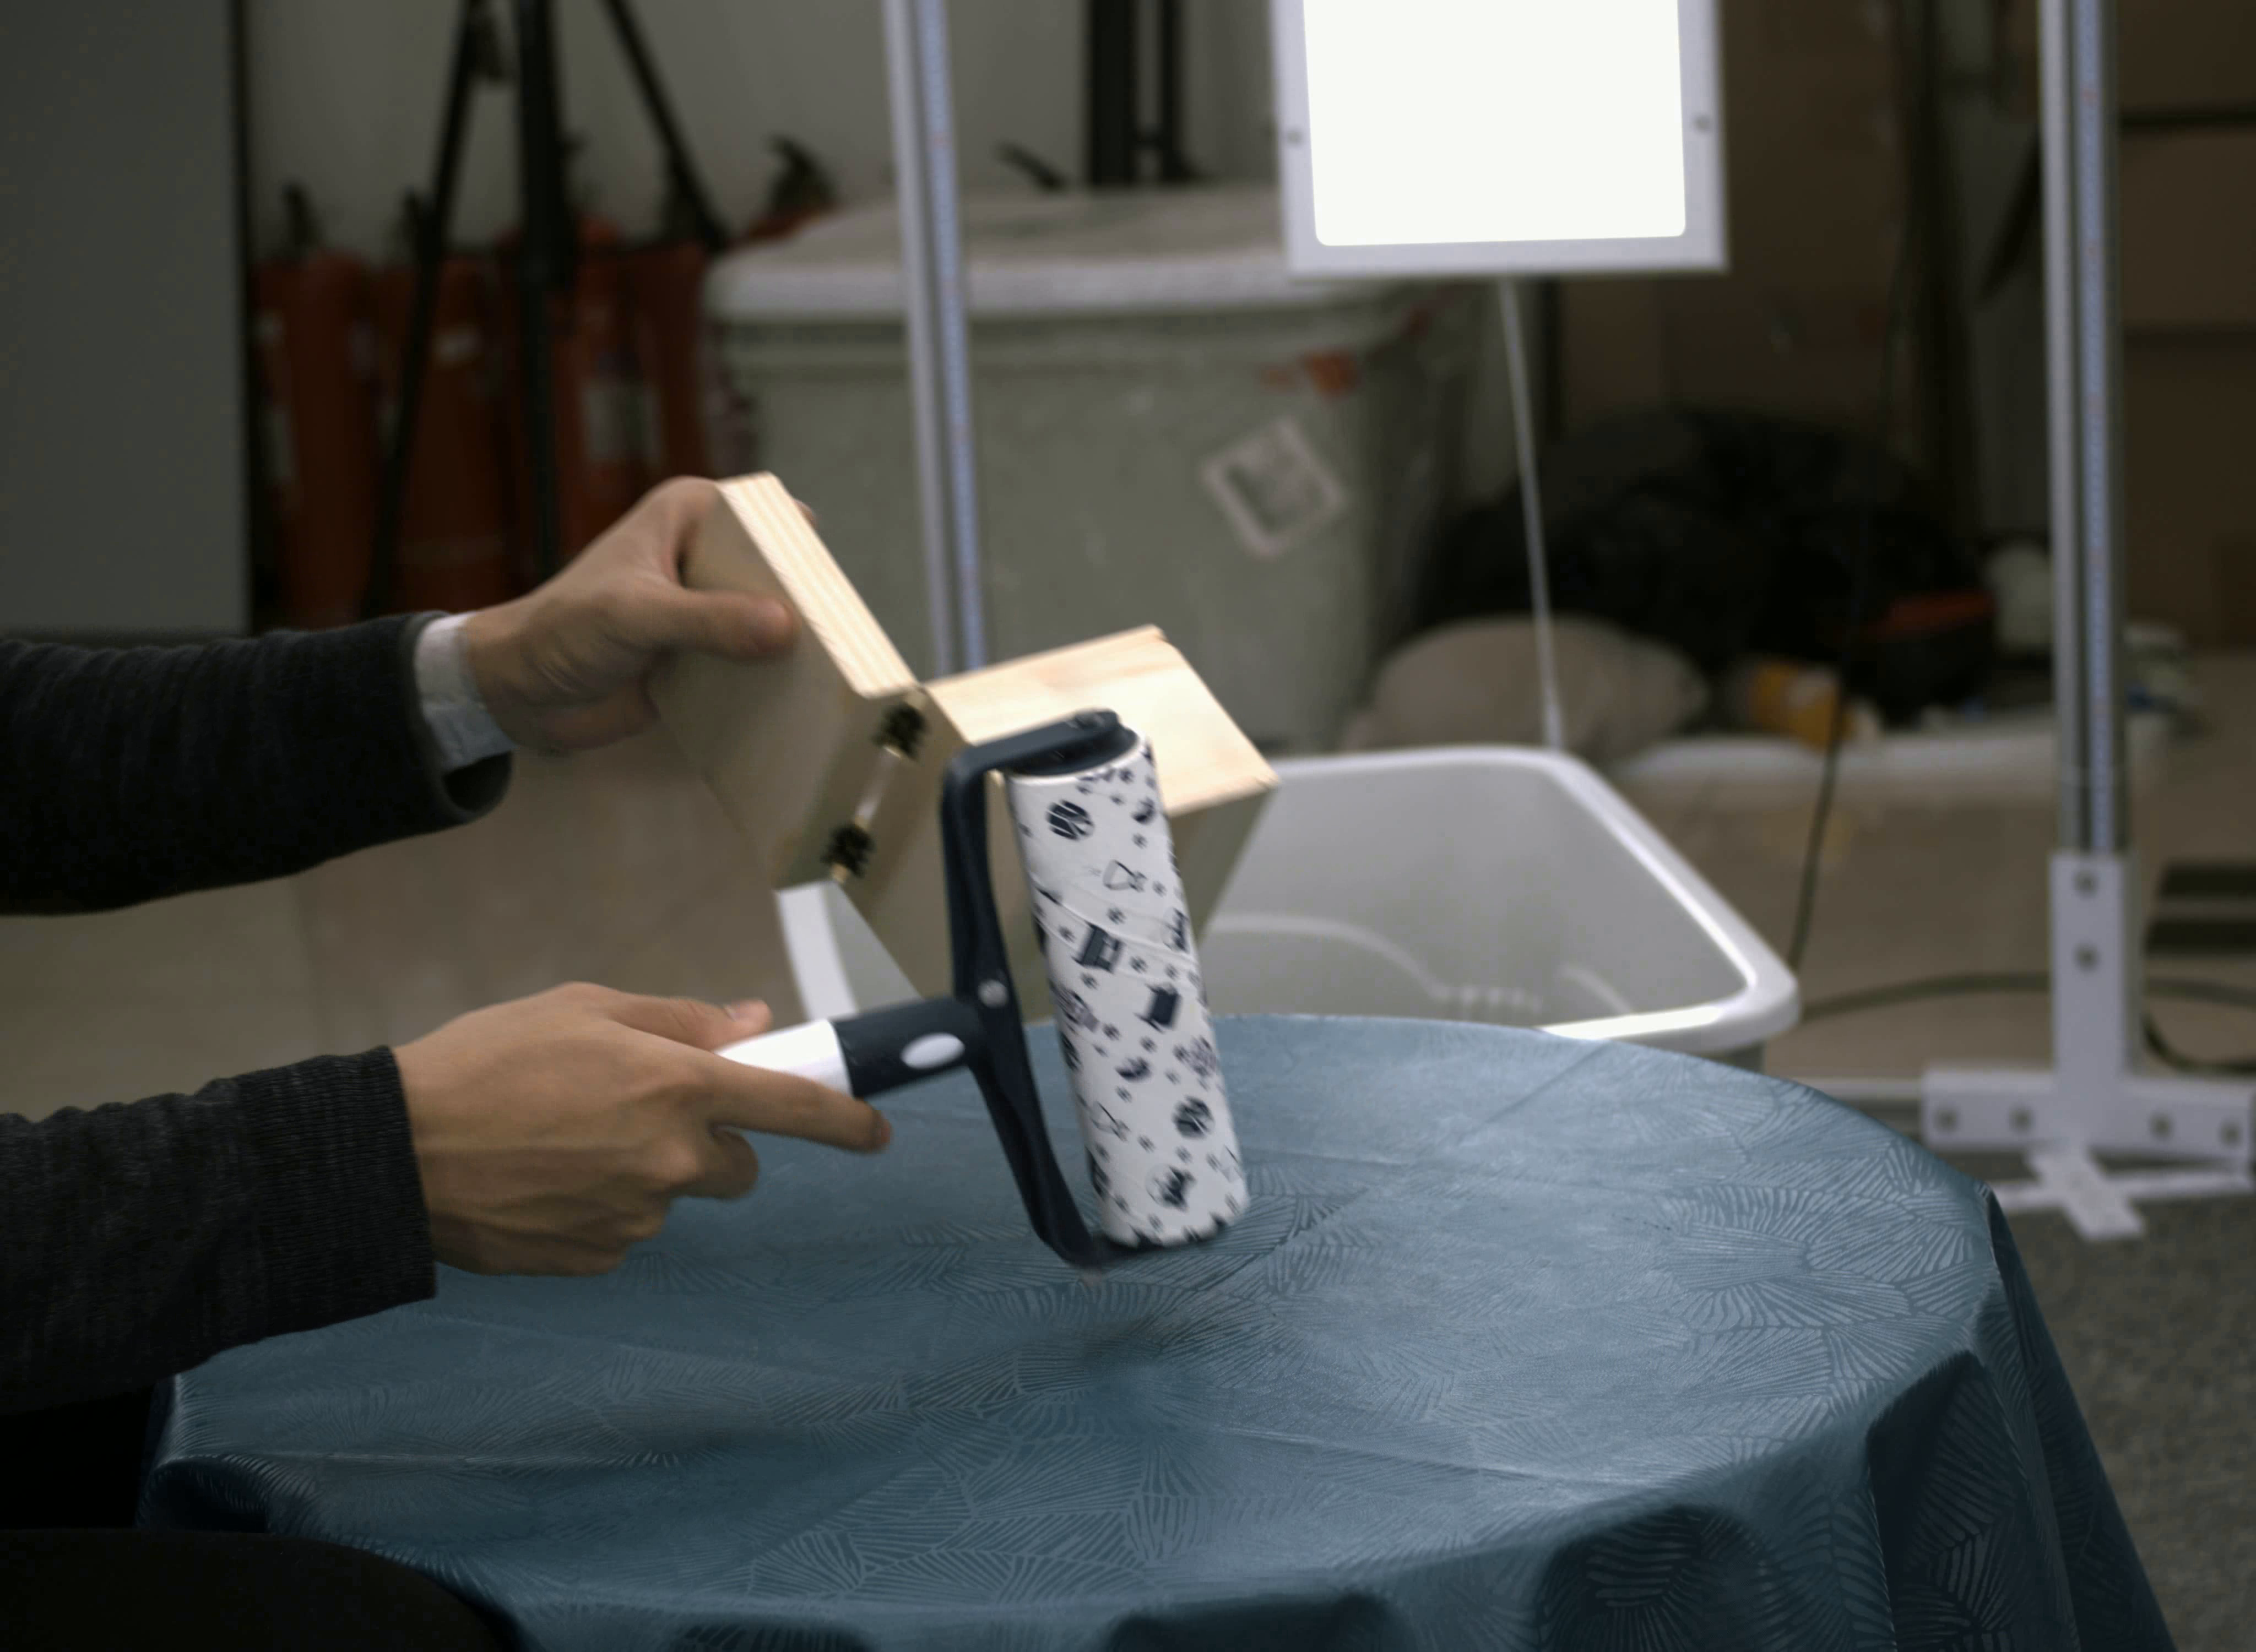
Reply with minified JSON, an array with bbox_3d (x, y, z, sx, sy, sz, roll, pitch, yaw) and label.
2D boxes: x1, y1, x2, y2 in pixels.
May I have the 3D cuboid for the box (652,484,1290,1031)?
[{"bbox_3d":[-0.056,-0.031,1.892,0.130,0.104,0.186,-17,56,-36],"label":"box"}]

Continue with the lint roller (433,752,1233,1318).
[{"bbox_3d":[-0.095,0.077,1.722,0.246,0.177,0.050,-6,12,1],"label":"lint roller"}]
